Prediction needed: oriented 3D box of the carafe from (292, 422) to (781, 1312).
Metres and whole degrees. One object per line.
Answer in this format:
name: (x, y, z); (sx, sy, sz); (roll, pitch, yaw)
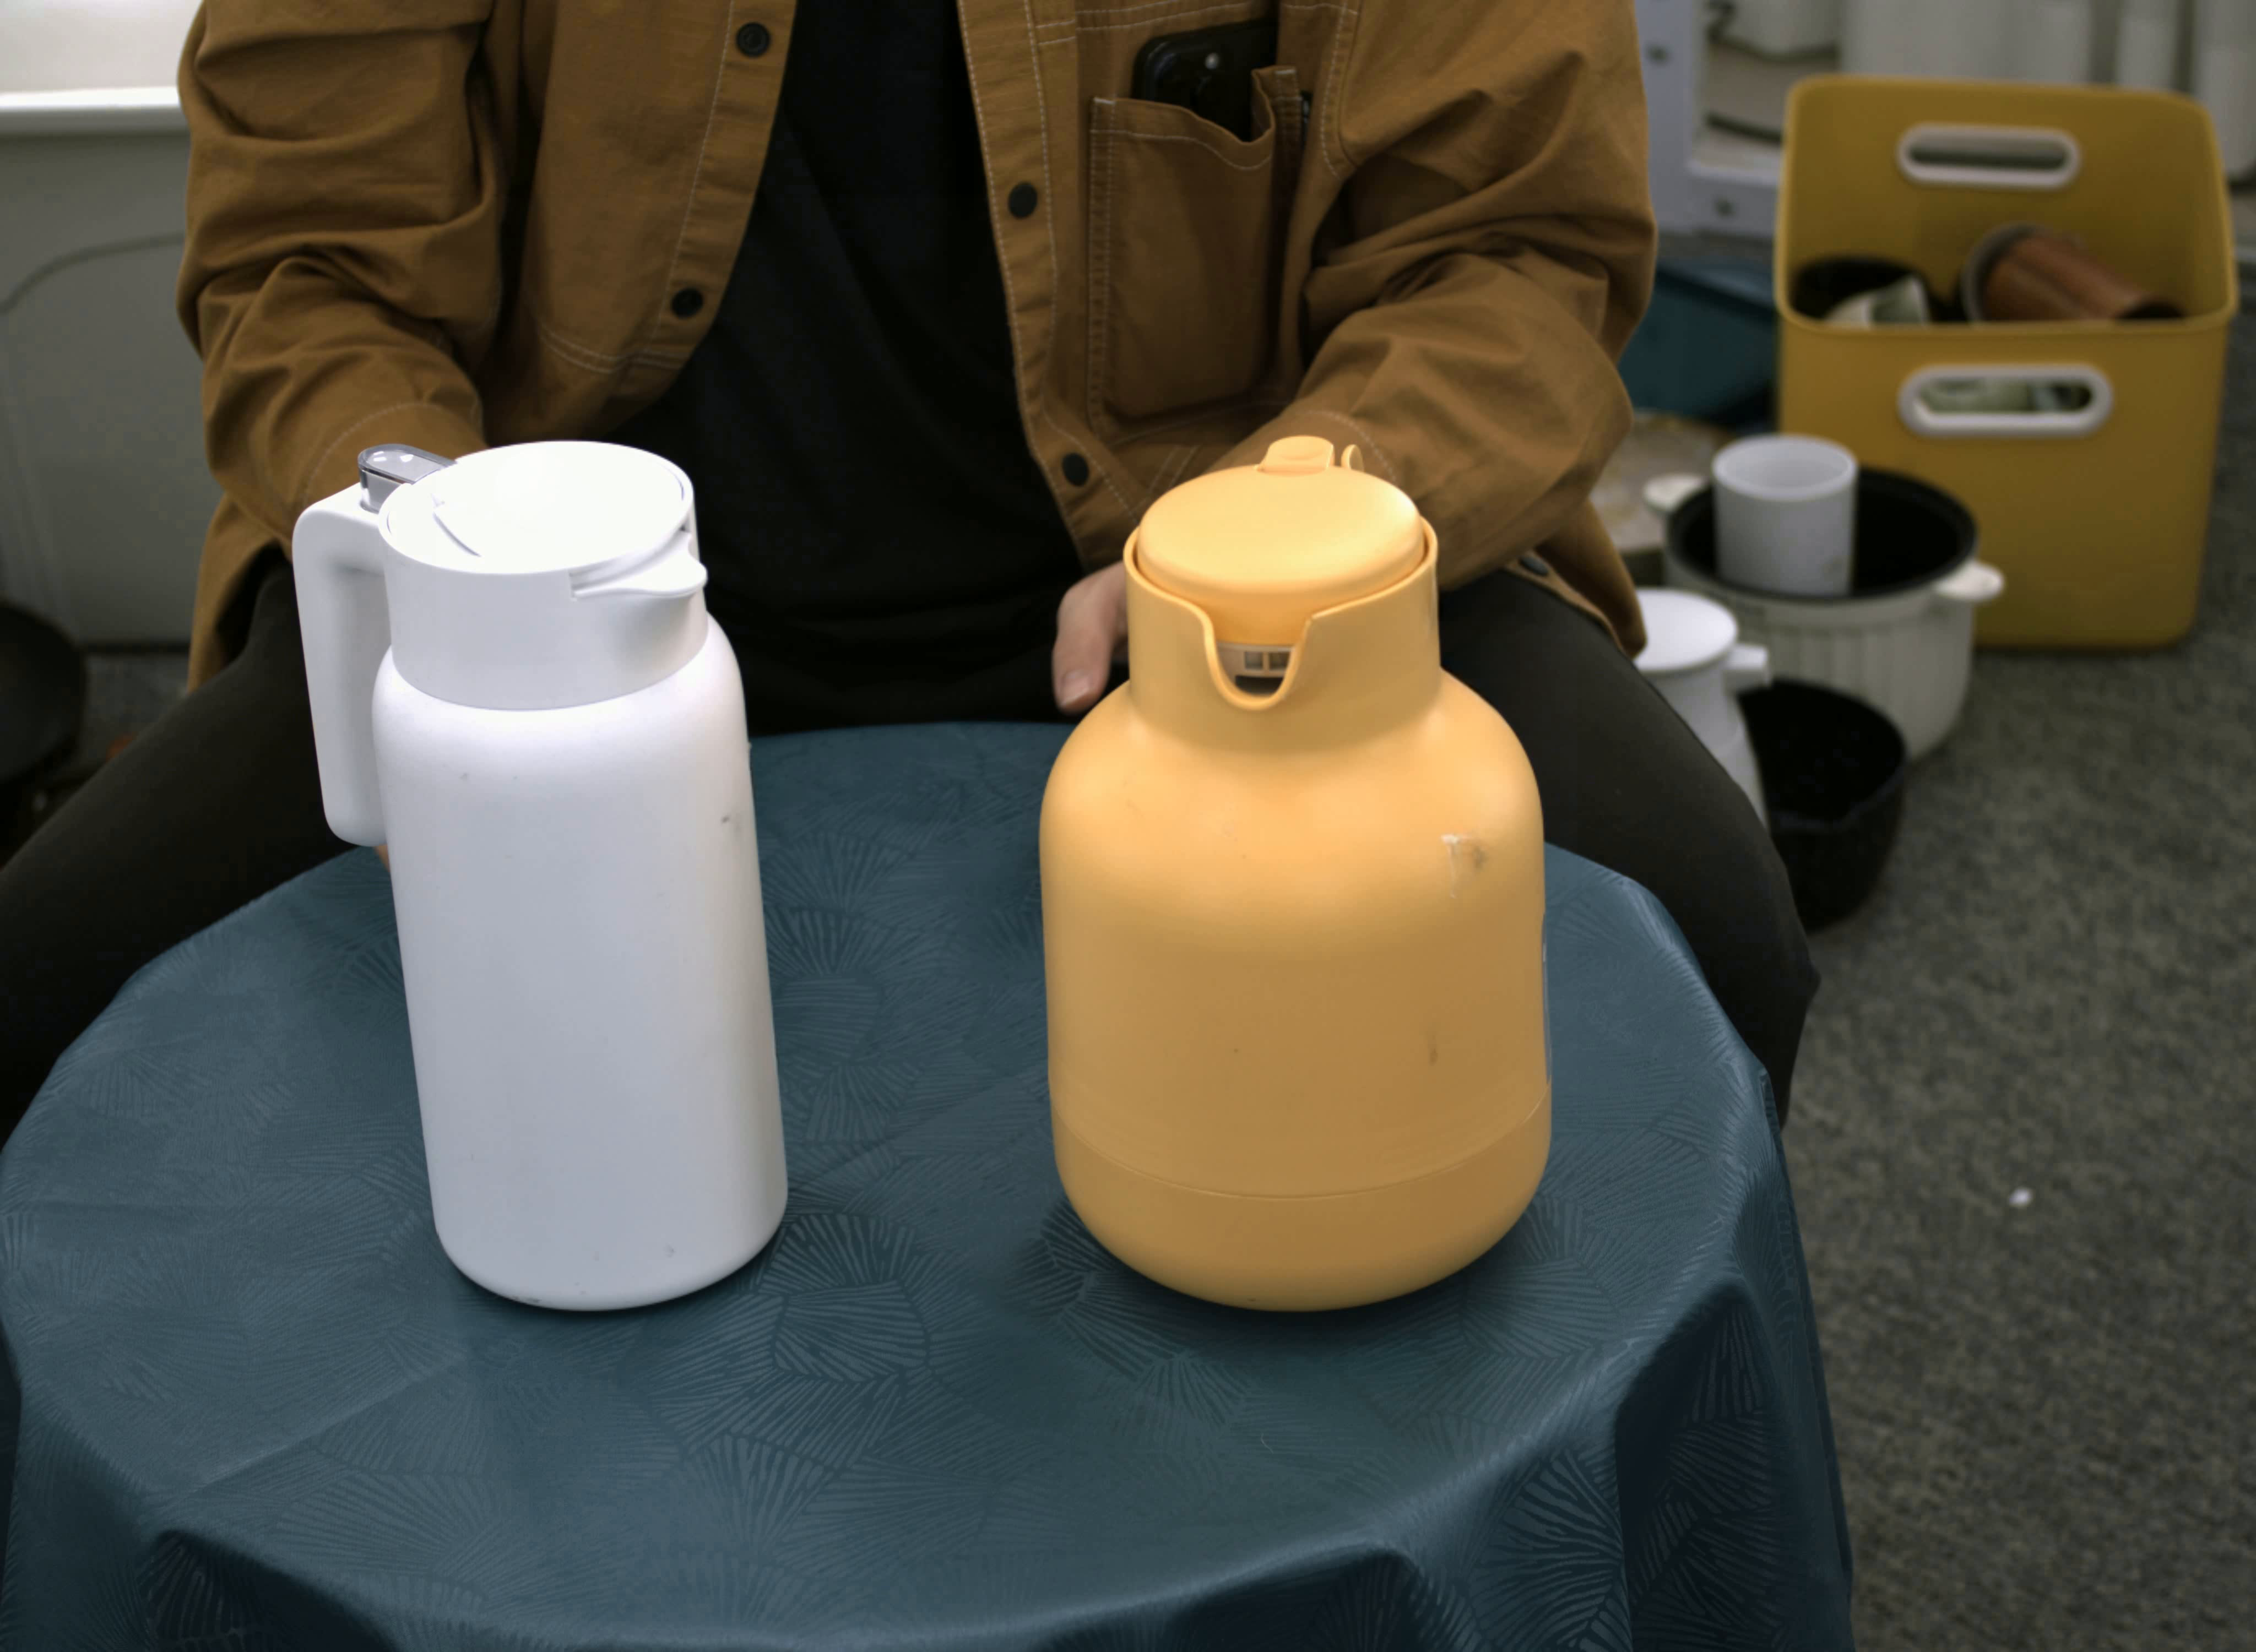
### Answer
carafe: (-0.191, 0.011, 1.803); (0.172, 0.266, 0.125); (17, 34, 35)

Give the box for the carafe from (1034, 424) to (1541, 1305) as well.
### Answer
carafe: (0.055, 0.003, 1.800); (0.162, 0.257, 0.206); (5, 29, 9)
